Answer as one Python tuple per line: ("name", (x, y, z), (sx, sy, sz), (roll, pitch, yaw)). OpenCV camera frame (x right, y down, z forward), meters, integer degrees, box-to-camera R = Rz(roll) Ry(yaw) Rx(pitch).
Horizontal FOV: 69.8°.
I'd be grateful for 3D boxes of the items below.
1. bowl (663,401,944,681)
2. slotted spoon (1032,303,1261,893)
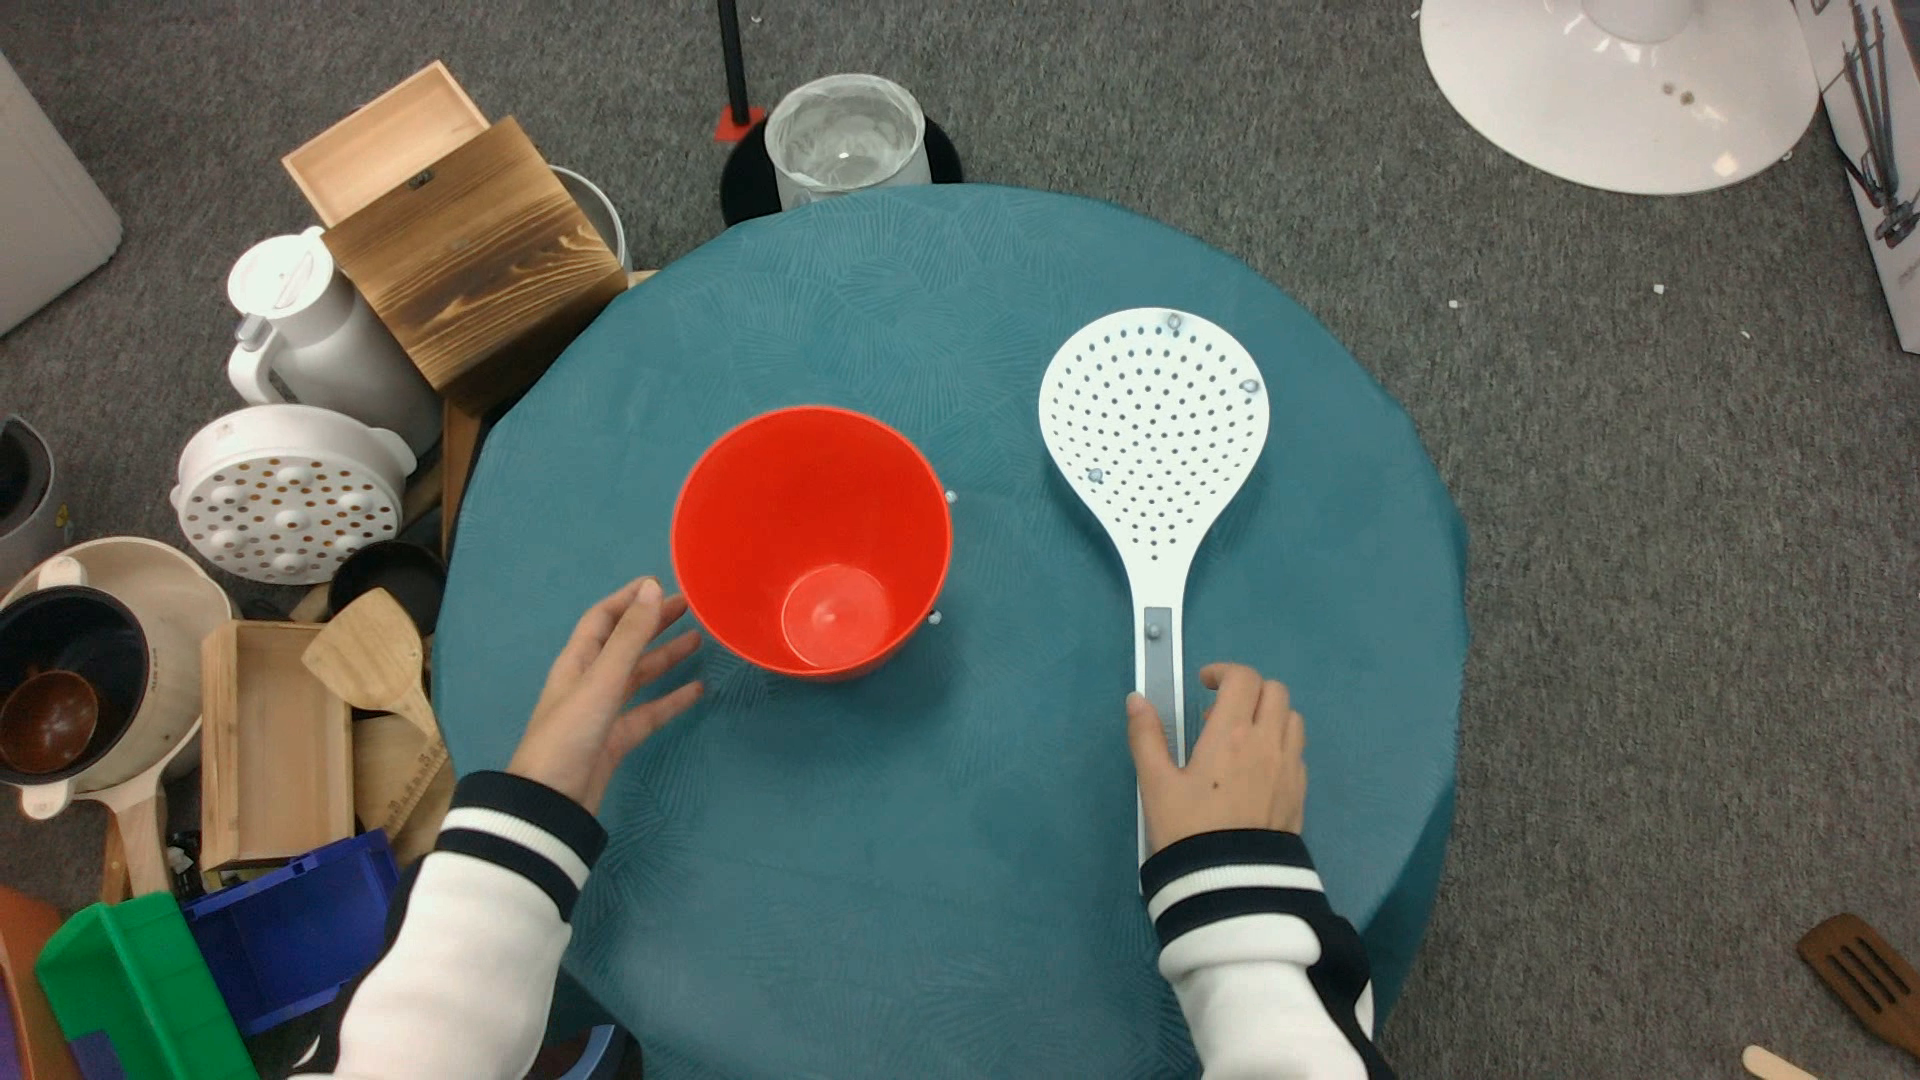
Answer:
("bowl", (-0.083, 0.013, 0.761), (0.148, 0.104, 0.148), (1, 63, -1))
("slotted spoon", (0.107, 0.021, 0.786), (0.136, 0.045, 0.351), (1, 63, 3))
